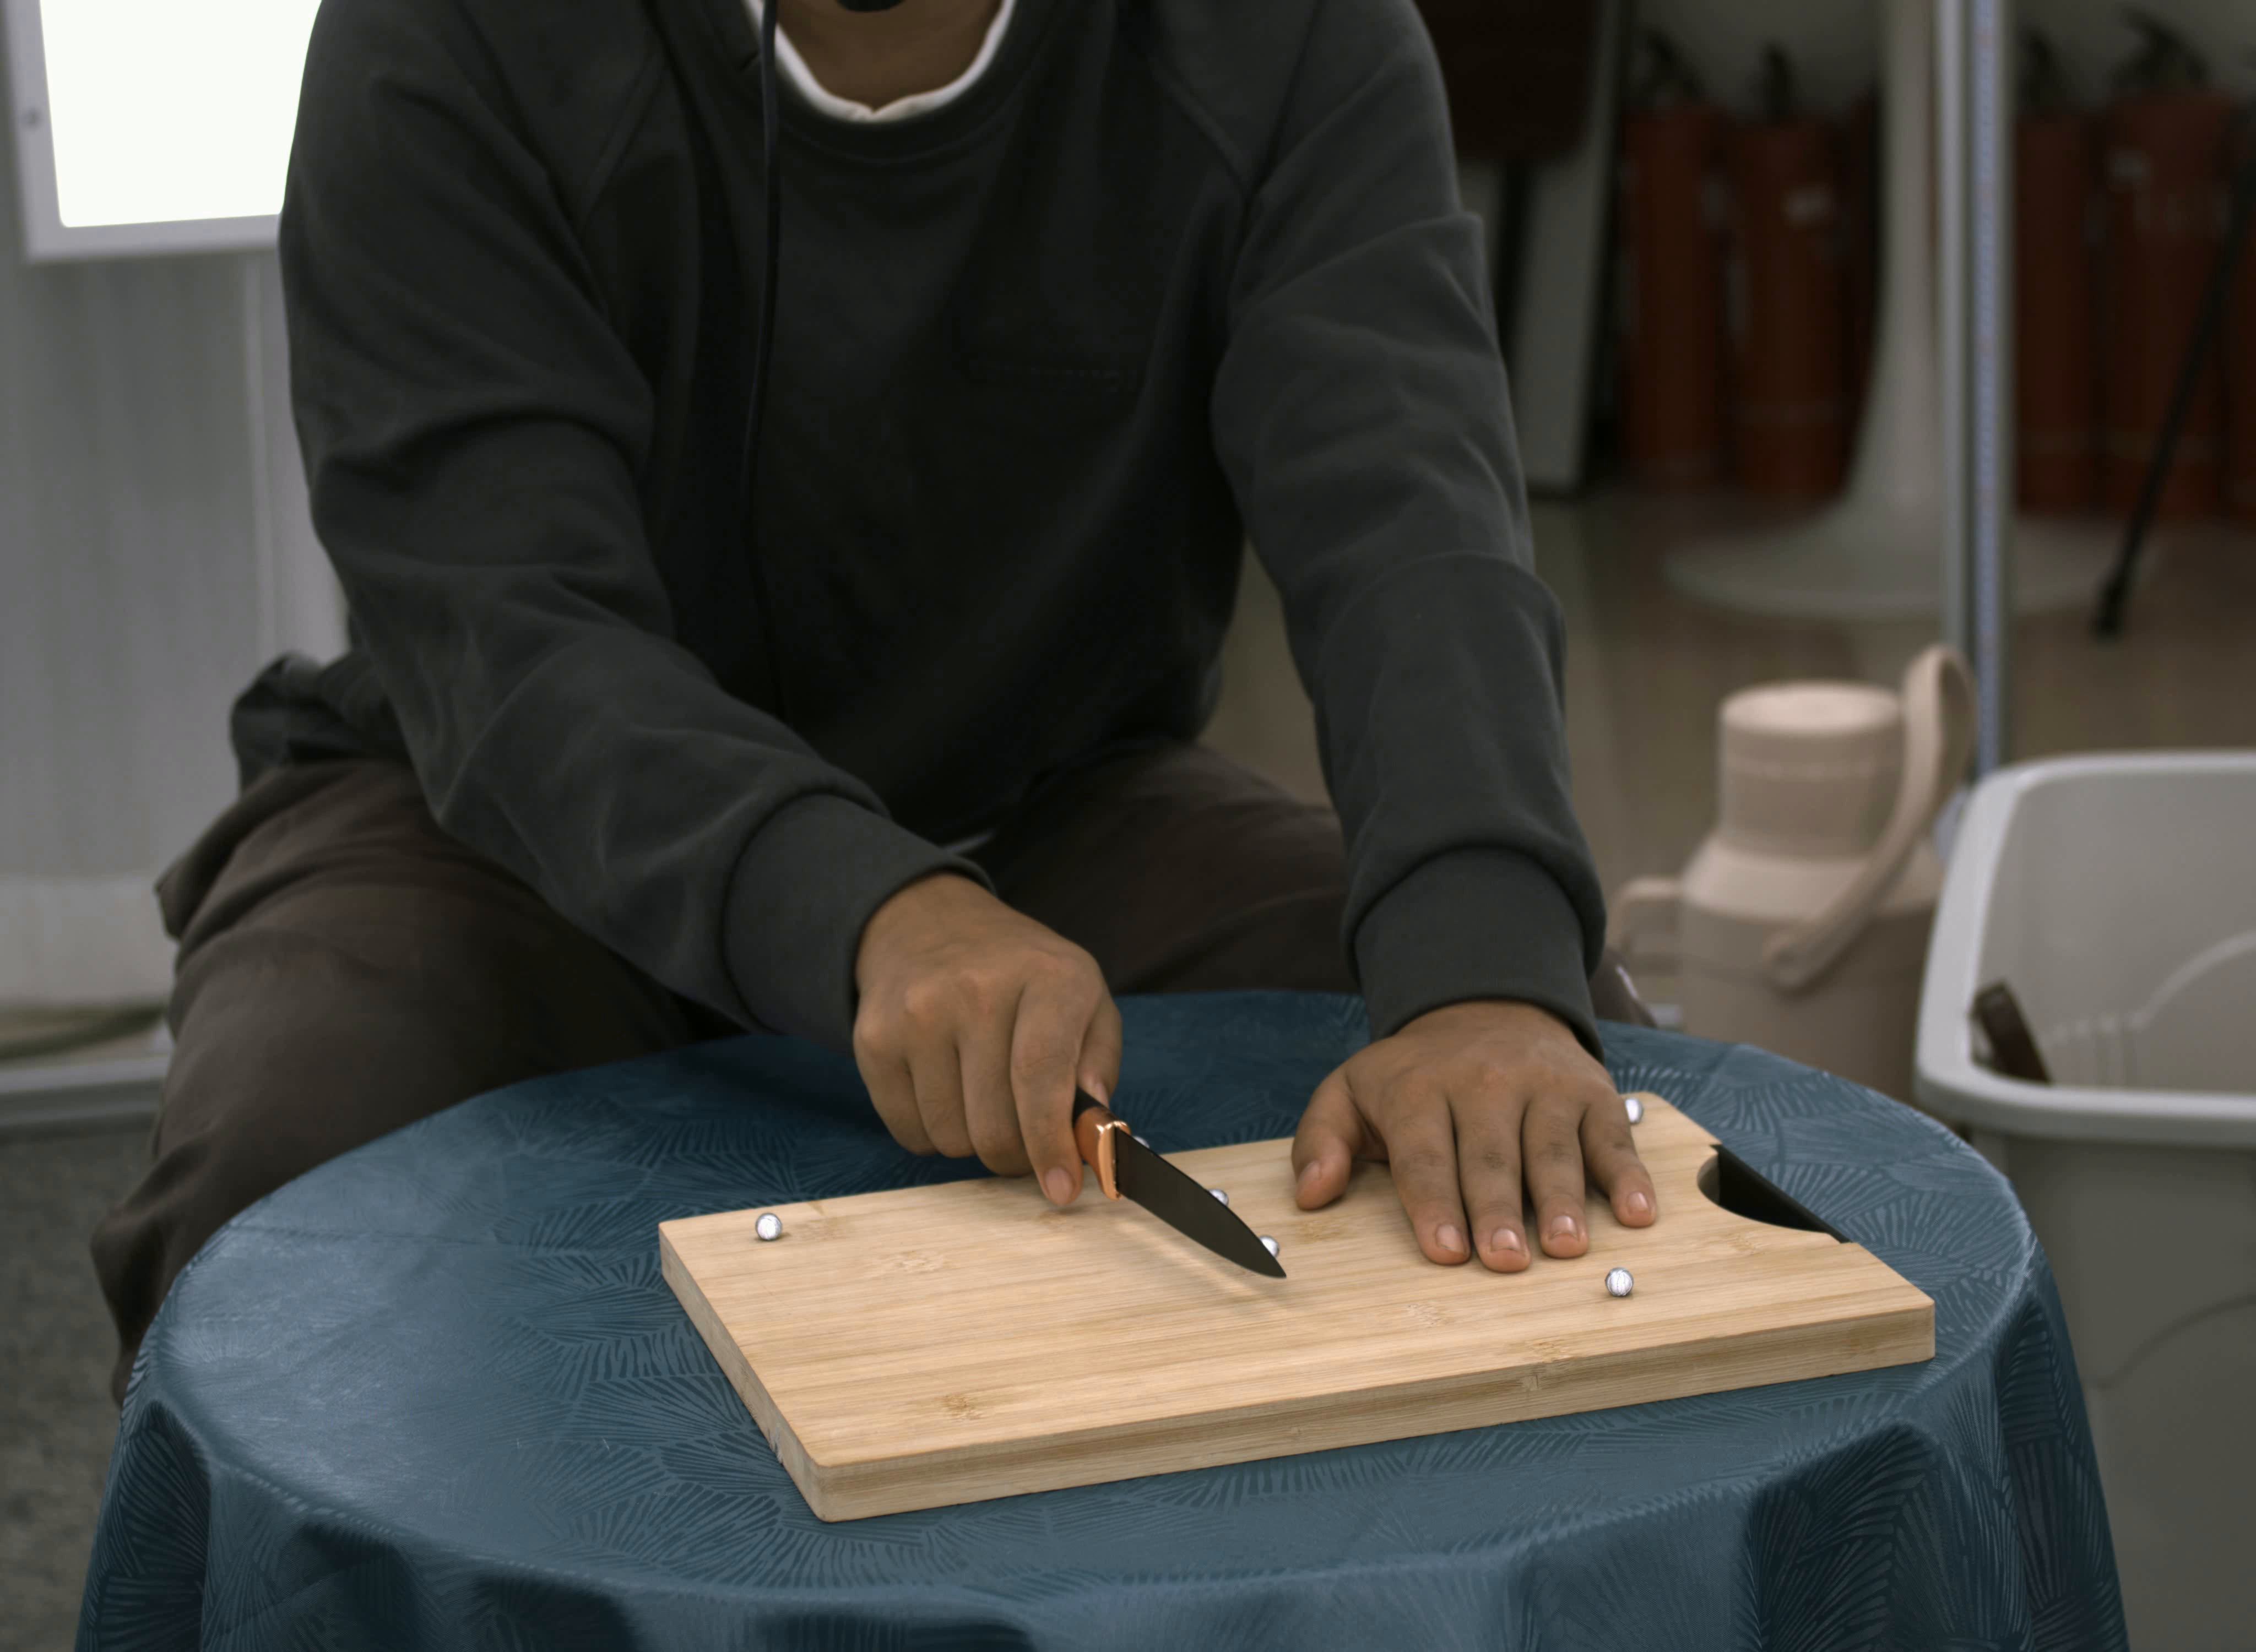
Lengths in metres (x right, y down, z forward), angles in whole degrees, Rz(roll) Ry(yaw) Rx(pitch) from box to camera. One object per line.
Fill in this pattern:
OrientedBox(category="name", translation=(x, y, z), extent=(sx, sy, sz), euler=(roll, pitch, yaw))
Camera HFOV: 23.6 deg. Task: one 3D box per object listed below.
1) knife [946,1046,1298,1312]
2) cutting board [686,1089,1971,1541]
OrientedBox(category="knife", translation=(-0.003, 0.108, 1.681), extent=(0.017, 0.026, 0.228), euler=(-8, 18, -26))
OrientedBox(category="cutting board", translation=(0.050, 0.142, 1.642), extent=(0.342, 0.024, 0.253), euler=(-8, 15, -14))
